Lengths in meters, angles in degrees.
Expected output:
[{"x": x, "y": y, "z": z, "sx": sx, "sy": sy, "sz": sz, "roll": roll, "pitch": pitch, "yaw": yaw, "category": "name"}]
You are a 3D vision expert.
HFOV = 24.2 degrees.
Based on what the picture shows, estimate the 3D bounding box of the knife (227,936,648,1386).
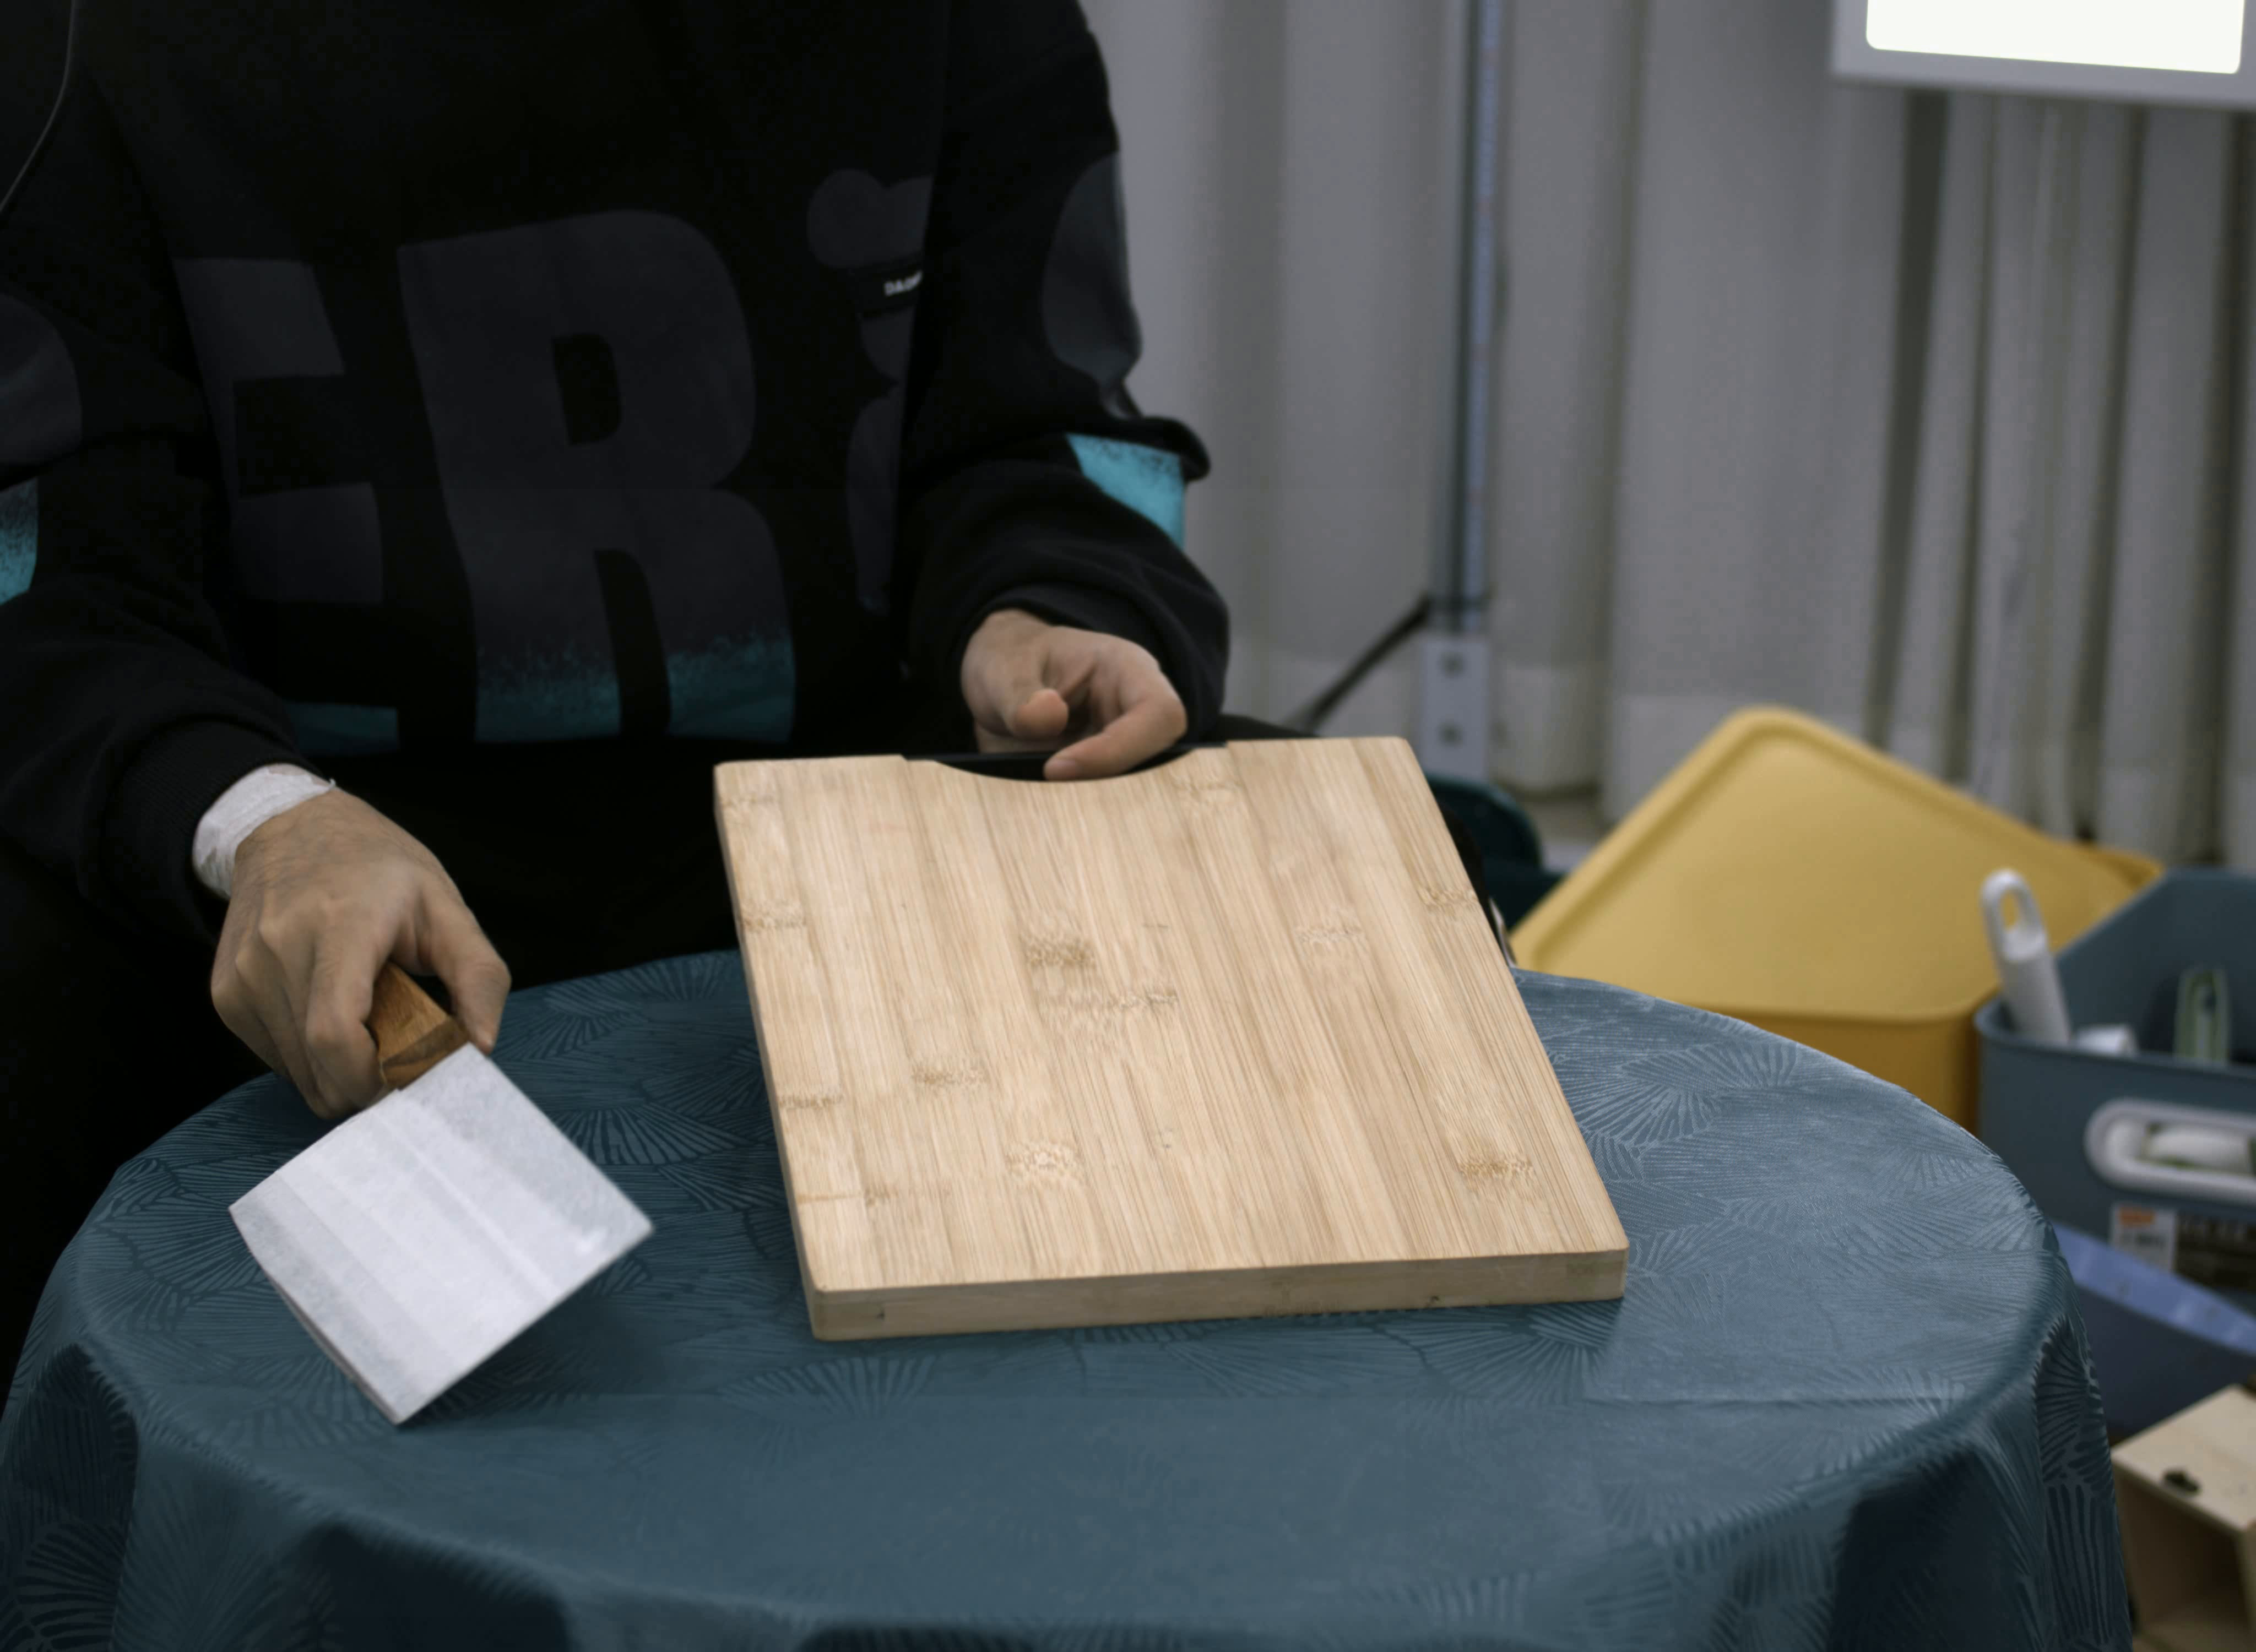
[{"x": -0.223, "y": 0.099, "z": 1.570, "sx": 0.093, "sy": 0.021, "sz": 0.302, "roll": -36, "pitch": 26, "yaw": -10, "category": "knife"}]

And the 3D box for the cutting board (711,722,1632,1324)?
[{"x": 0.003, "y": 0.055, "z": 1.664, "sx": 0.251, "sy": 0.024, "sz": 0.345, "roll": -2, "pitch": 28, "yaw": -10, "category": "cutting board"}]
